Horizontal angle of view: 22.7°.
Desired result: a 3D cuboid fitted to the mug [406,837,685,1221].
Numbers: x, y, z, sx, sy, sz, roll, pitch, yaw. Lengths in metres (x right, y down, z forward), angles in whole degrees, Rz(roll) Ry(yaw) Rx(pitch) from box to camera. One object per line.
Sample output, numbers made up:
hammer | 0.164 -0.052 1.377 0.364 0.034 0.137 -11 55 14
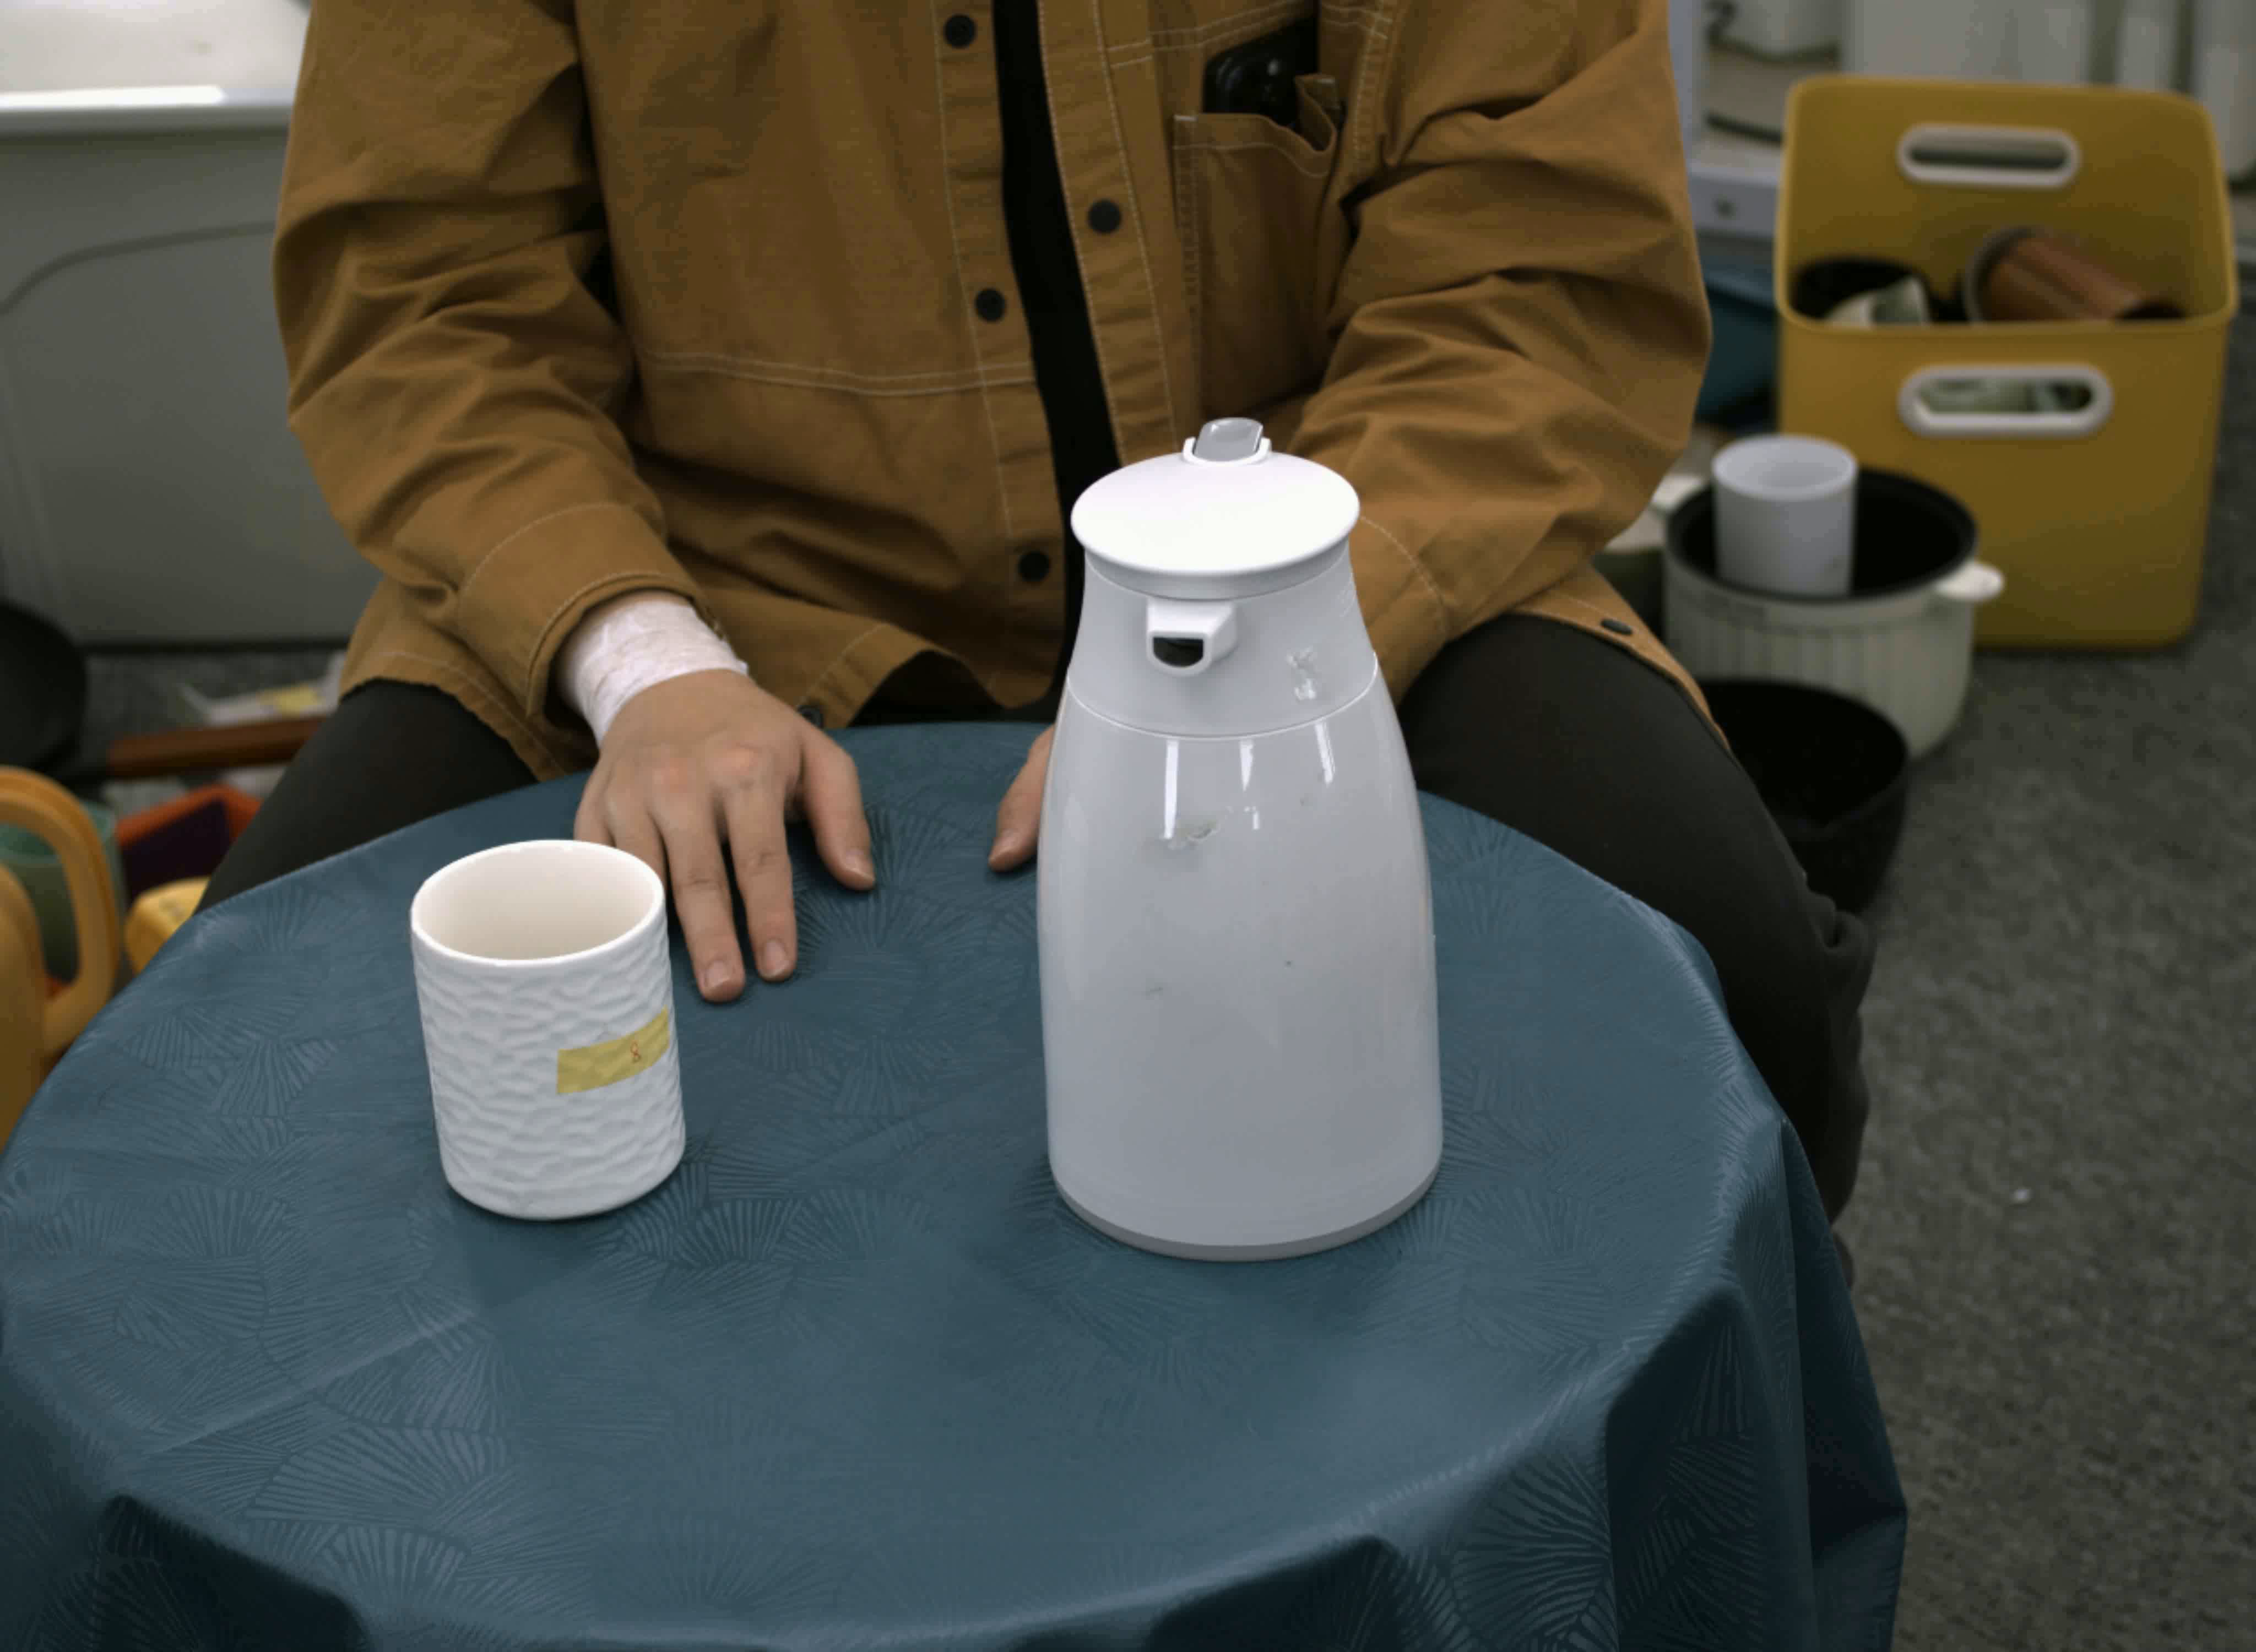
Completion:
mug | -0.199 0.062 1.883 0.085 0.101 0.119 -12 28 -18

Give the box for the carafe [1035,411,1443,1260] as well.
carafe | 0.035 -0.008 1.838 0.131 0.246 0.170 1 26 10
